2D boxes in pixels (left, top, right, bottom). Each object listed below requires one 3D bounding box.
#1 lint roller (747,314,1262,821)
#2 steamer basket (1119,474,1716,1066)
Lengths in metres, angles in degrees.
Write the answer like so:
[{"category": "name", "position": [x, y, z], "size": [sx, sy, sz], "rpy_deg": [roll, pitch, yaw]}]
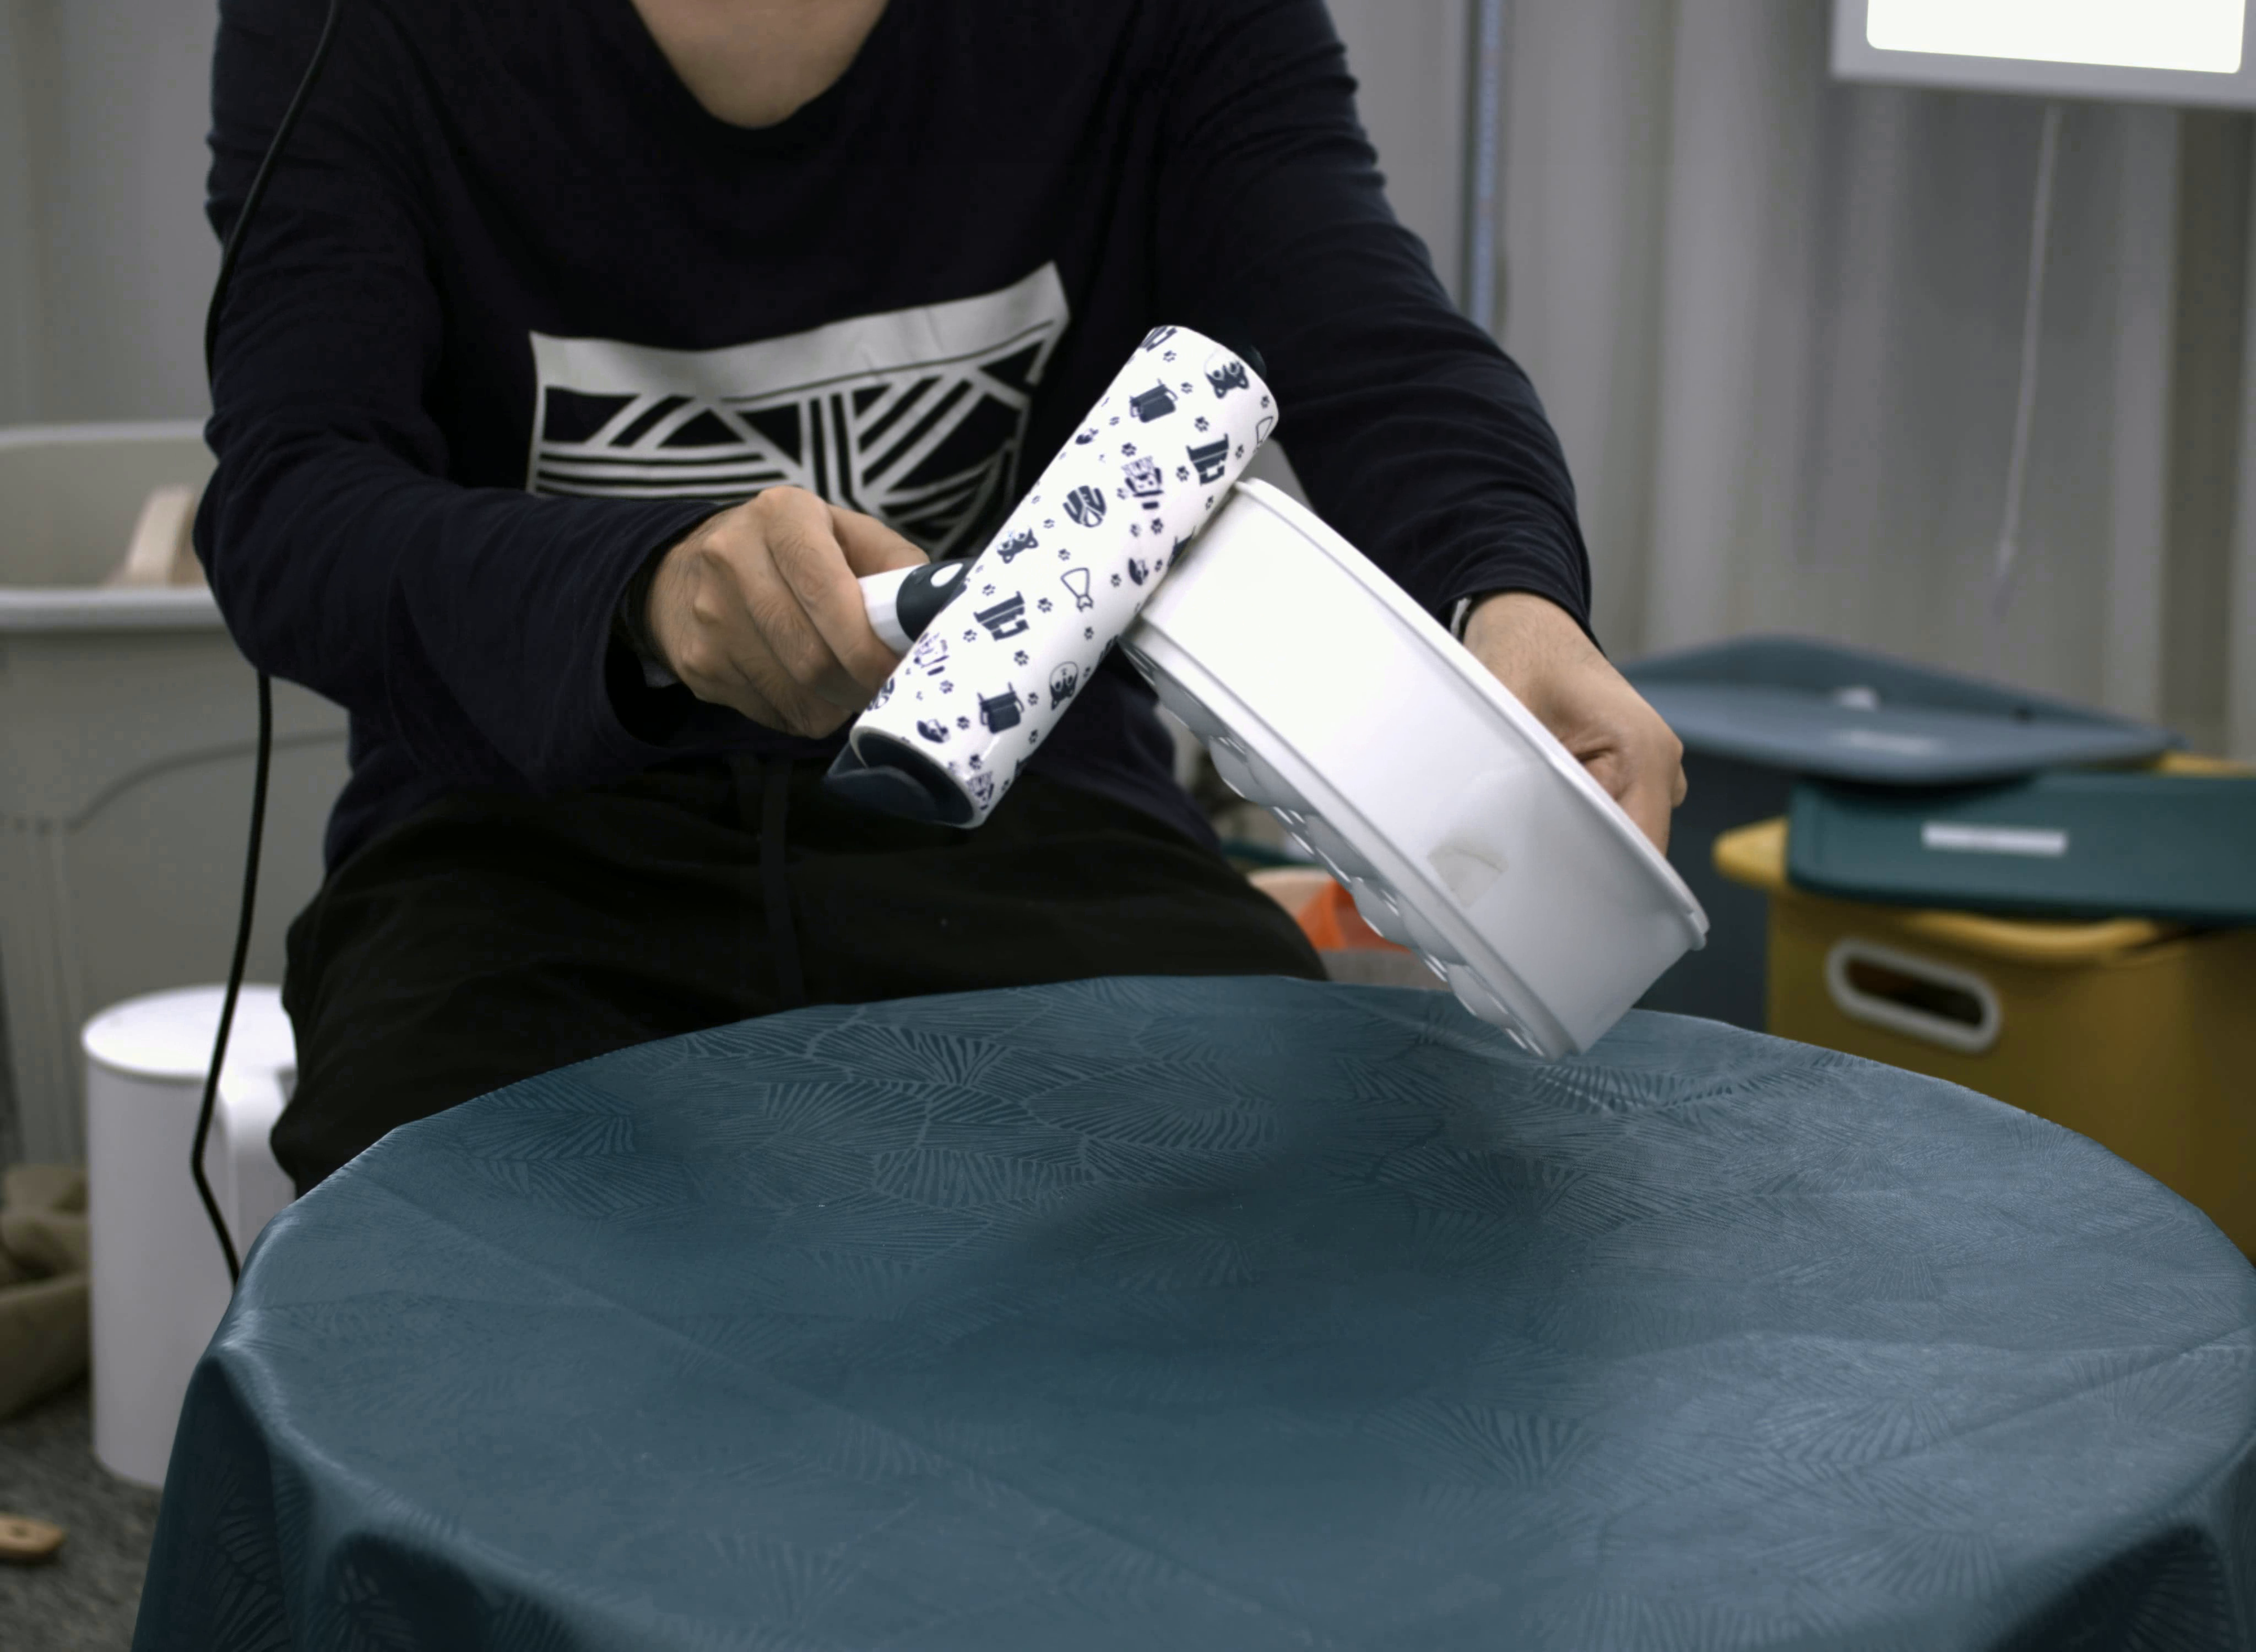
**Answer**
[{"category": "lint roller", "position": [-0.069, -0.069, 1.635], "size": [0.176, 0.051, 0.245], "rpy_deg": [-56, 21, -21]}, {"category": "steamer basket", "position": [0.083, -0.013, 1.581], "size": [0.069, 0.204, 0.227], "rpy_deg": [-46, 34, -2]}]
